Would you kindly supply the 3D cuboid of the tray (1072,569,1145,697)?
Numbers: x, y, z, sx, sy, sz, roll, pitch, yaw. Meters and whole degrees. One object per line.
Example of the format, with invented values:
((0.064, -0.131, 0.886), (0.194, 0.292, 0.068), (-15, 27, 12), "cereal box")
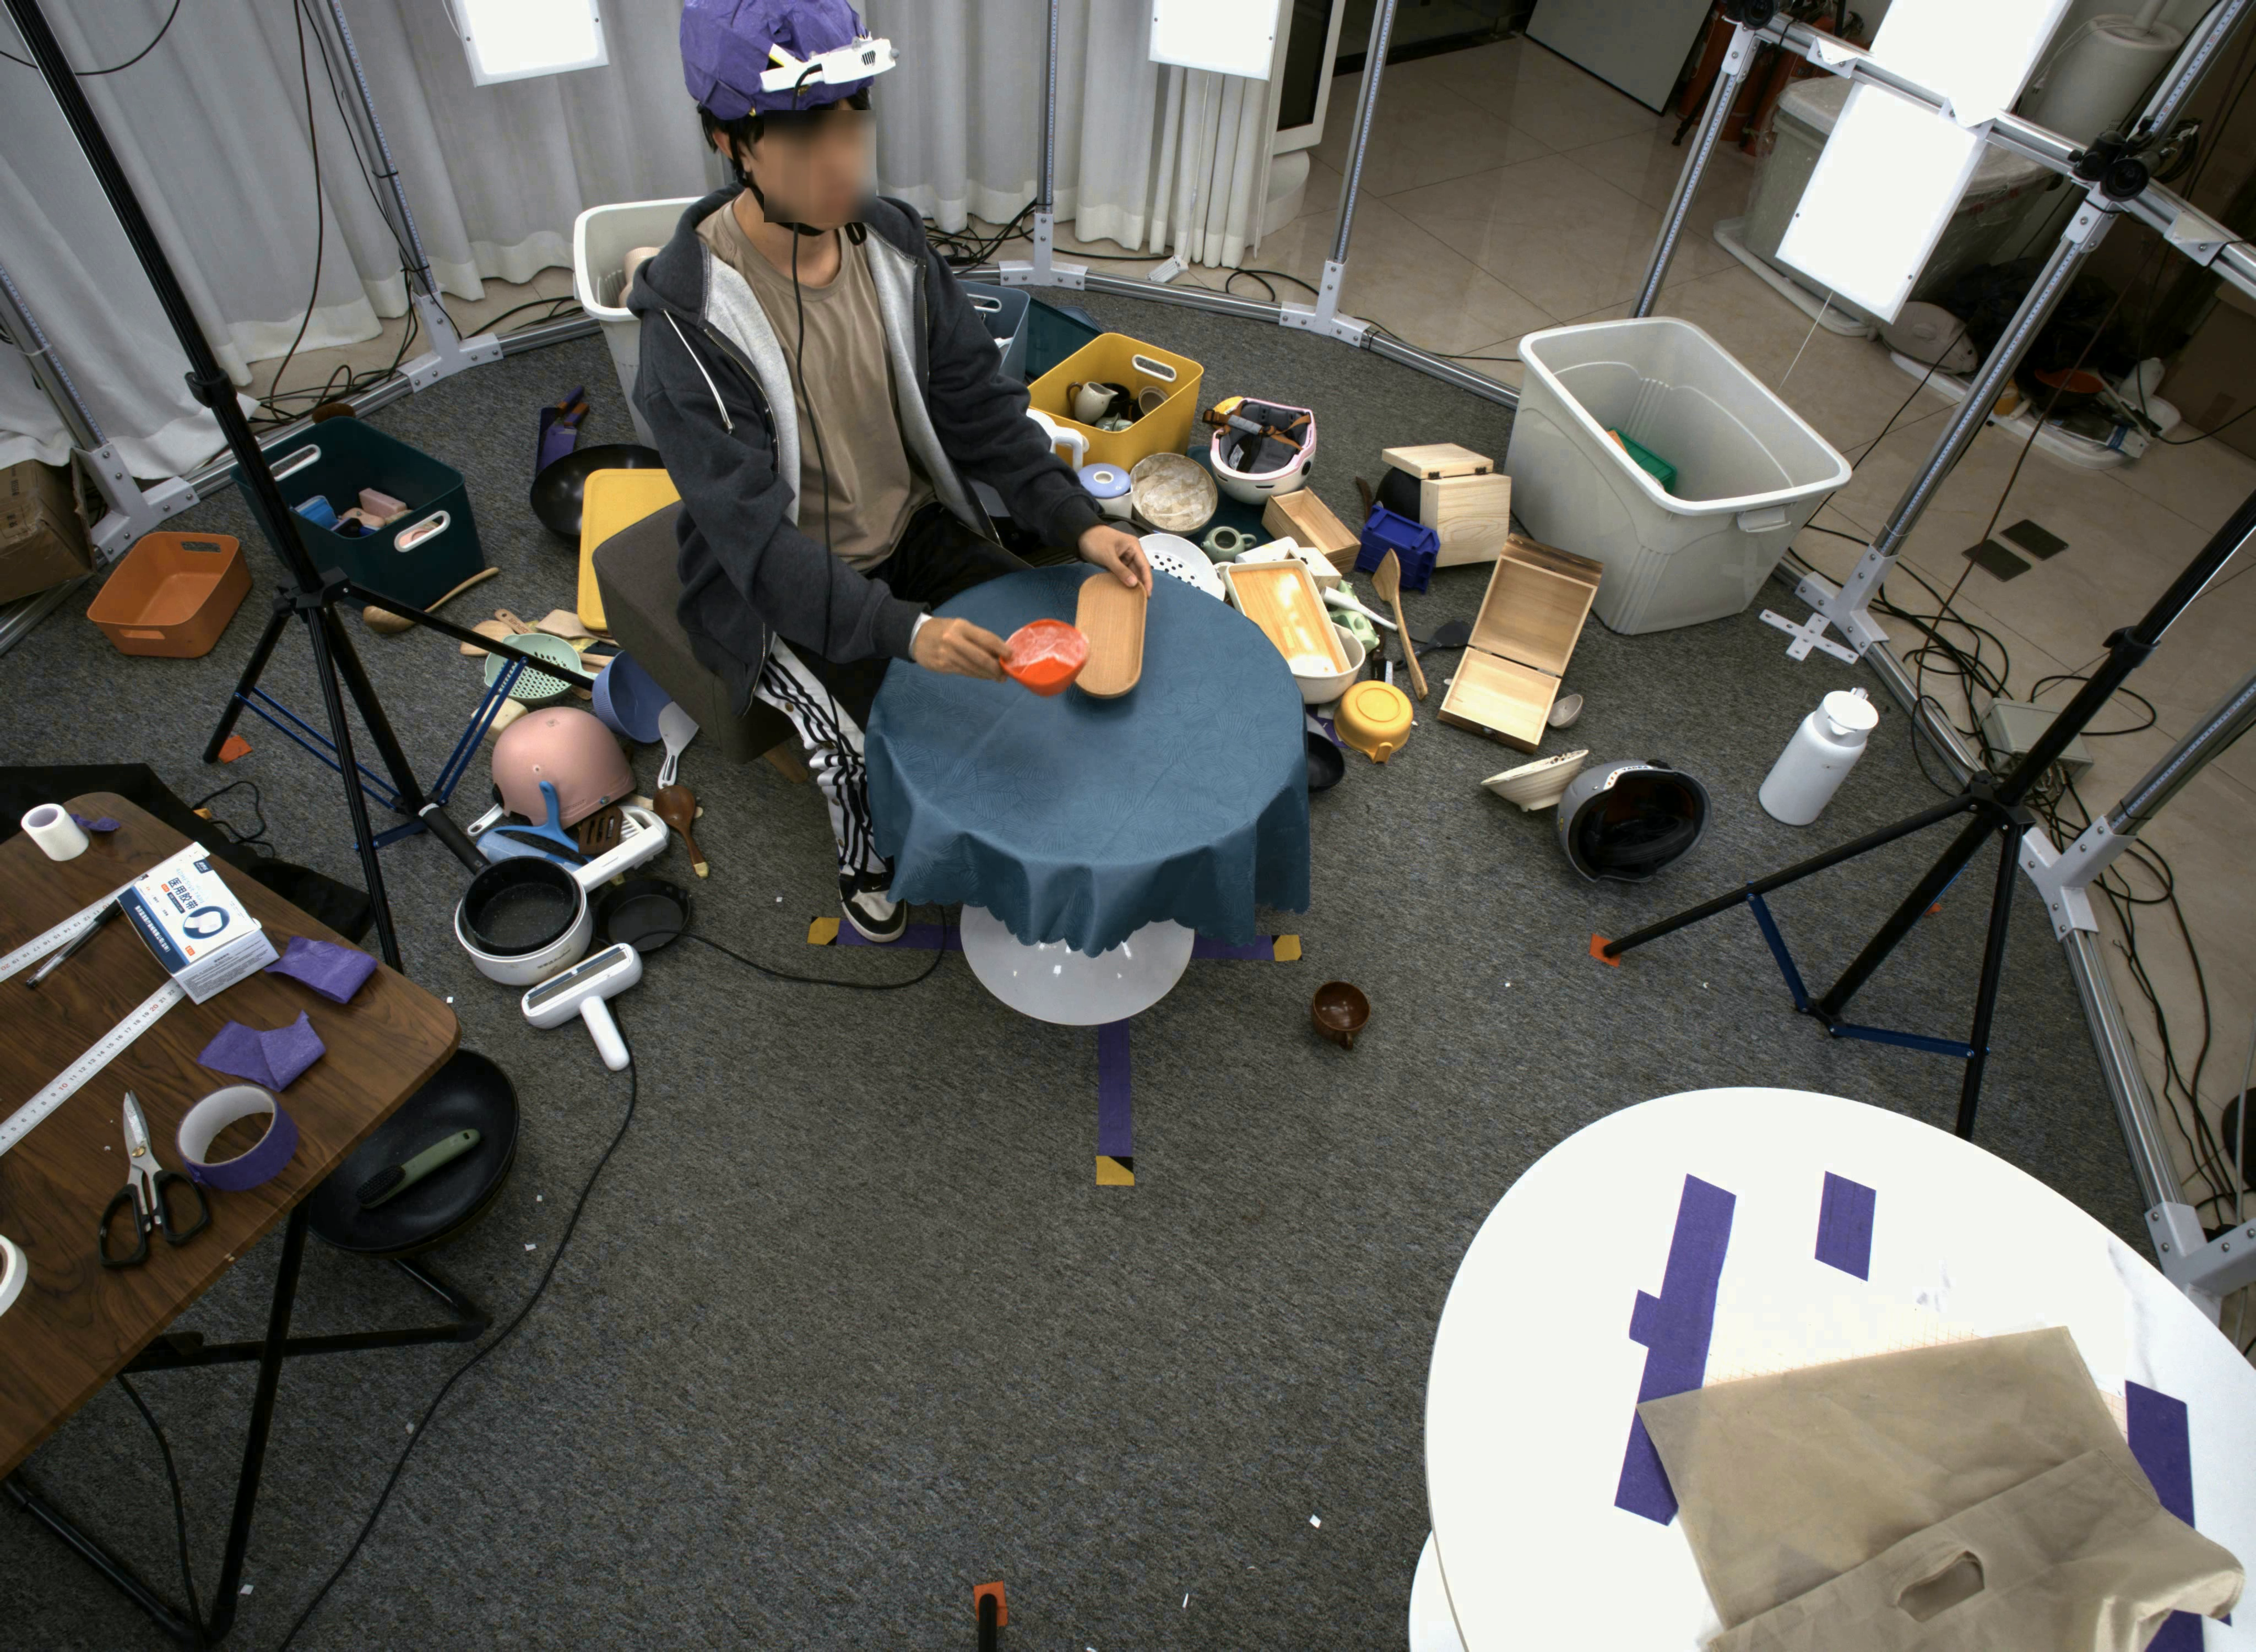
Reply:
((-0.029, -0.280, 1.849), (0.101, 0.020, 0.236), (3, 55, 1), "tray")

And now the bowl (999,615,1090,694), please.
((-0.106, -0.217, 1.676), (0.119, 0.050, 0.122), (-4, 51, 5), "bowl")
